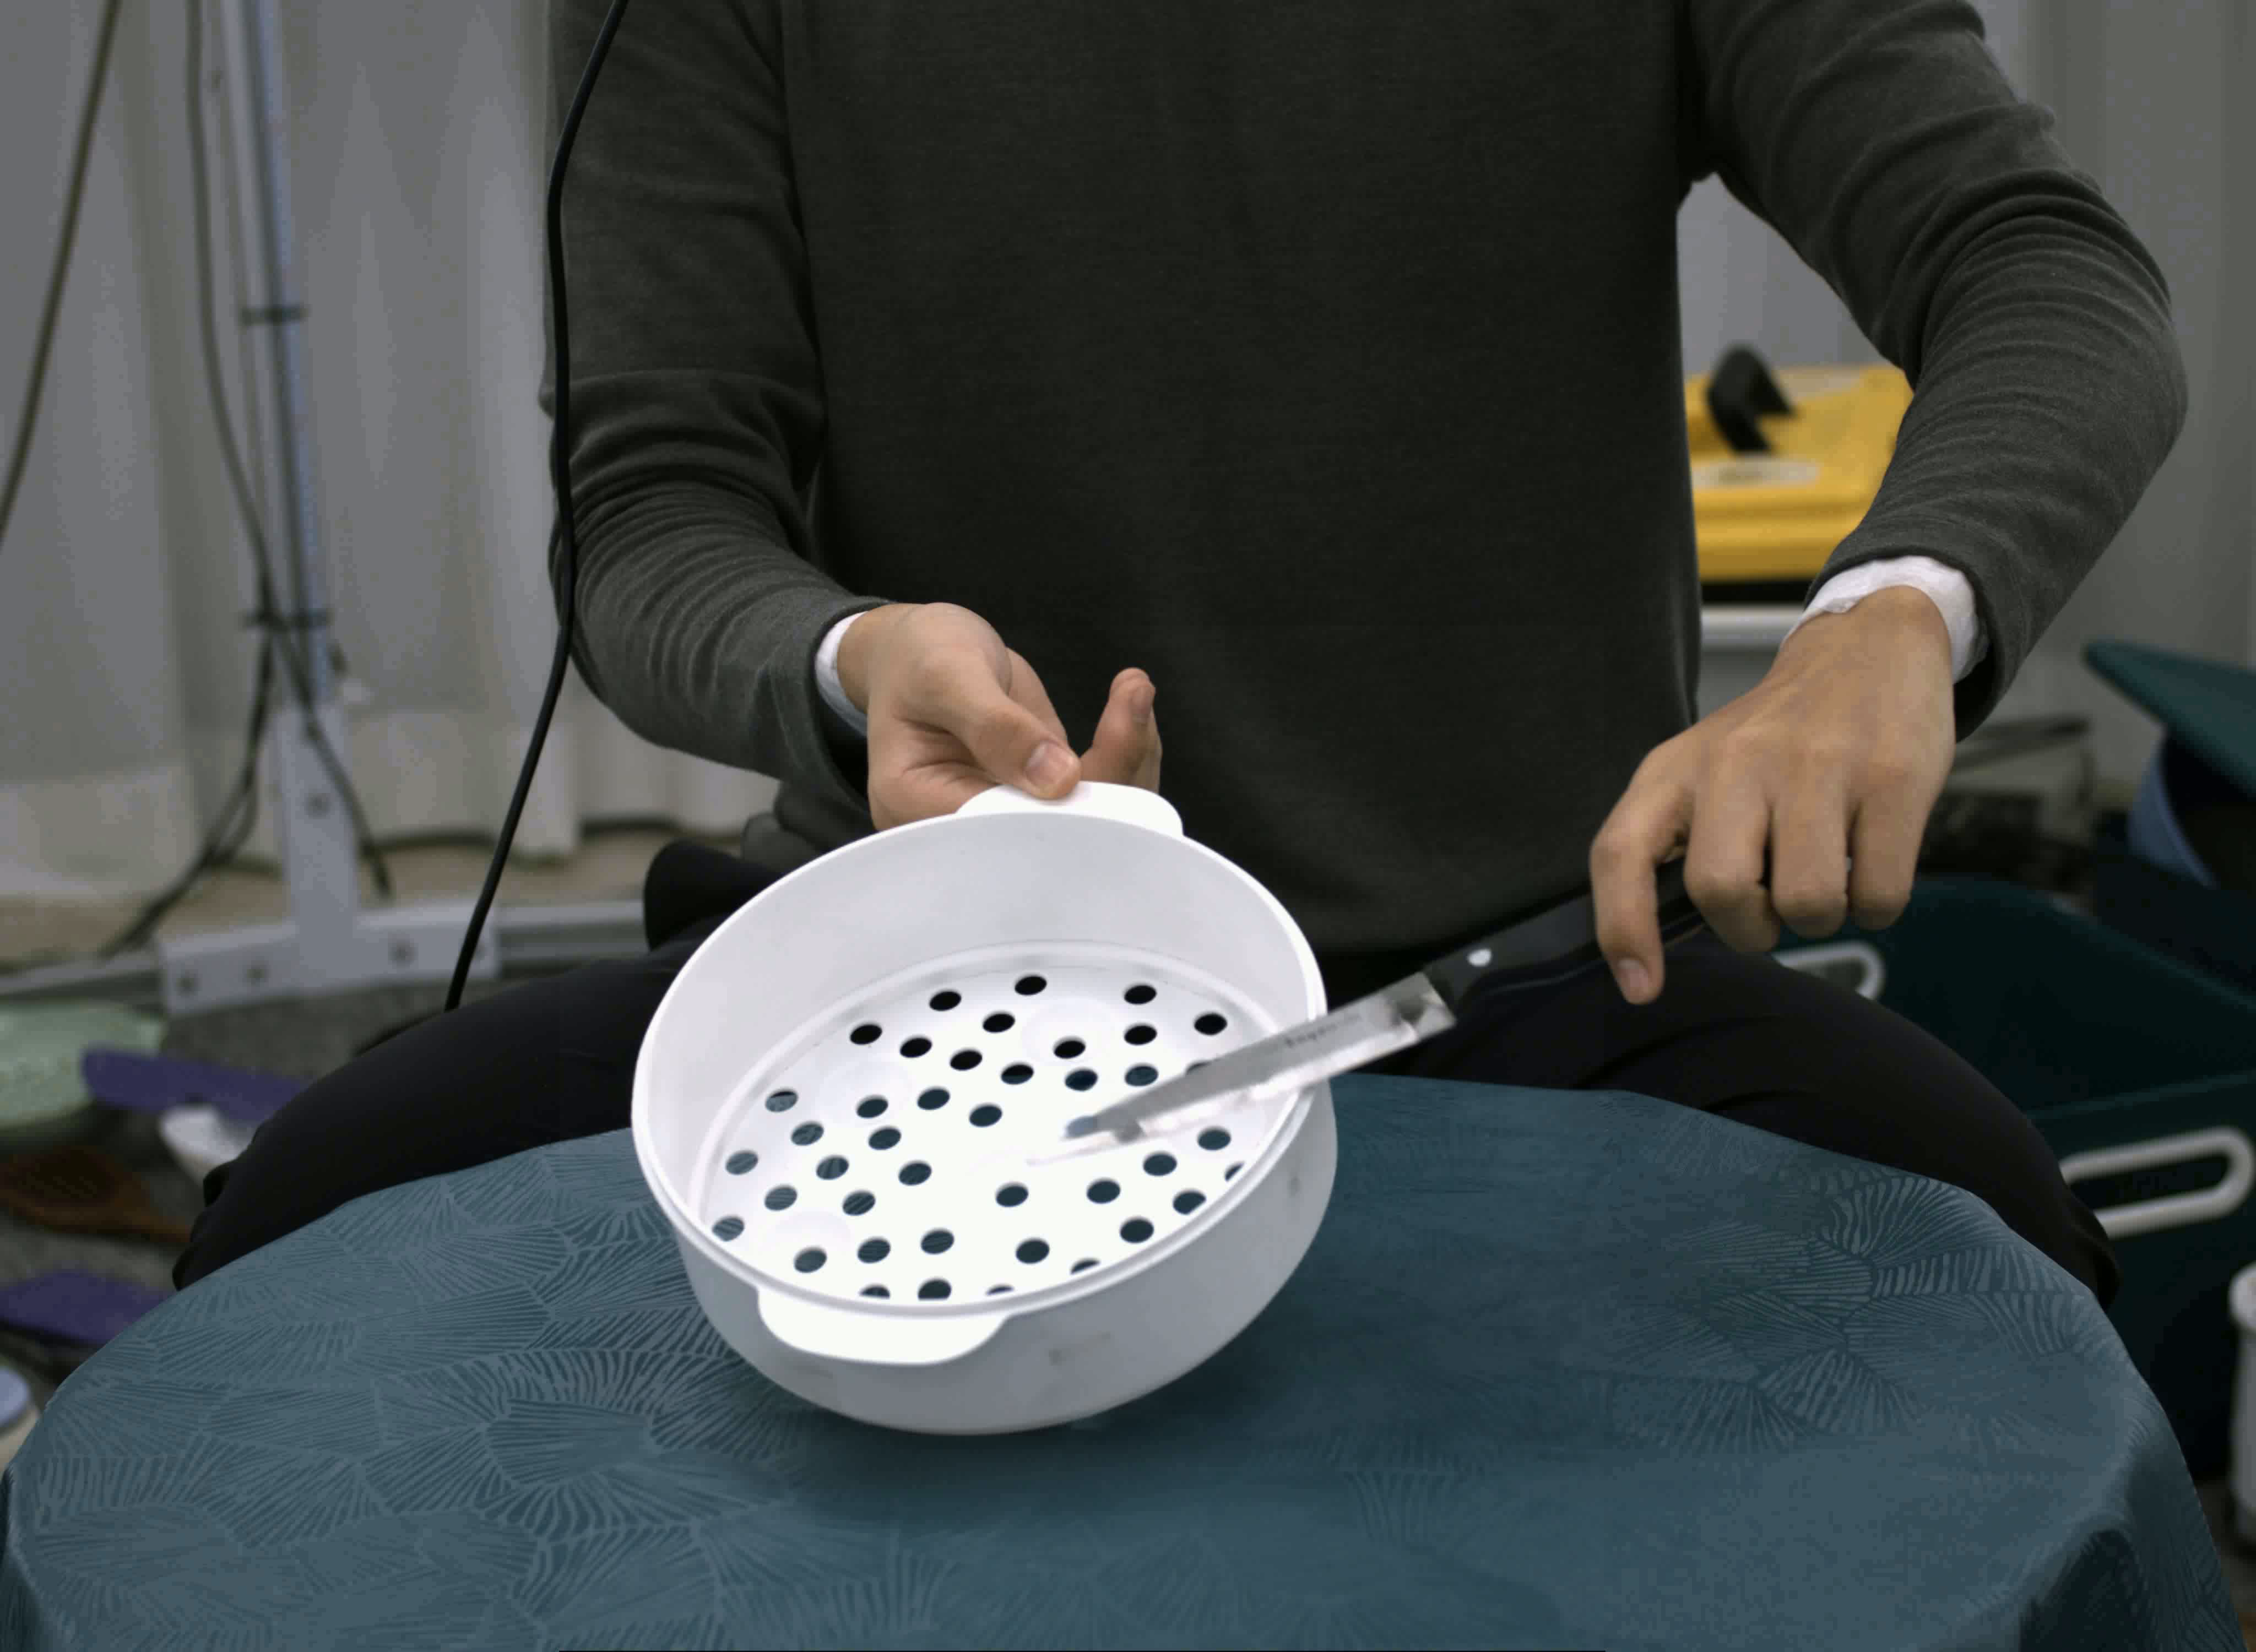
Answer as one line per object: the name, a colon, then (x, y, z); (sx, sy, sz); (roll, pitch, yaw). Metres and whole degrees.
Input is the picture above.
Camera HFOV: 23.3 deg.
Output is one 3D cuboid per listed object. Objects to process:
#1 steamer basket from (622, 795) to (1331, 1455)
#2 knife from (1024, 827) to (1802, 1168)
steamer basket: (-0.040, 0.089, 1.564); (0.202, 0.068, 0.233); (5, 43, 16)
knife: (0.079, 0.049, 1.529); (0.237, 0.016, 0.025); (-22, 40, -10)
